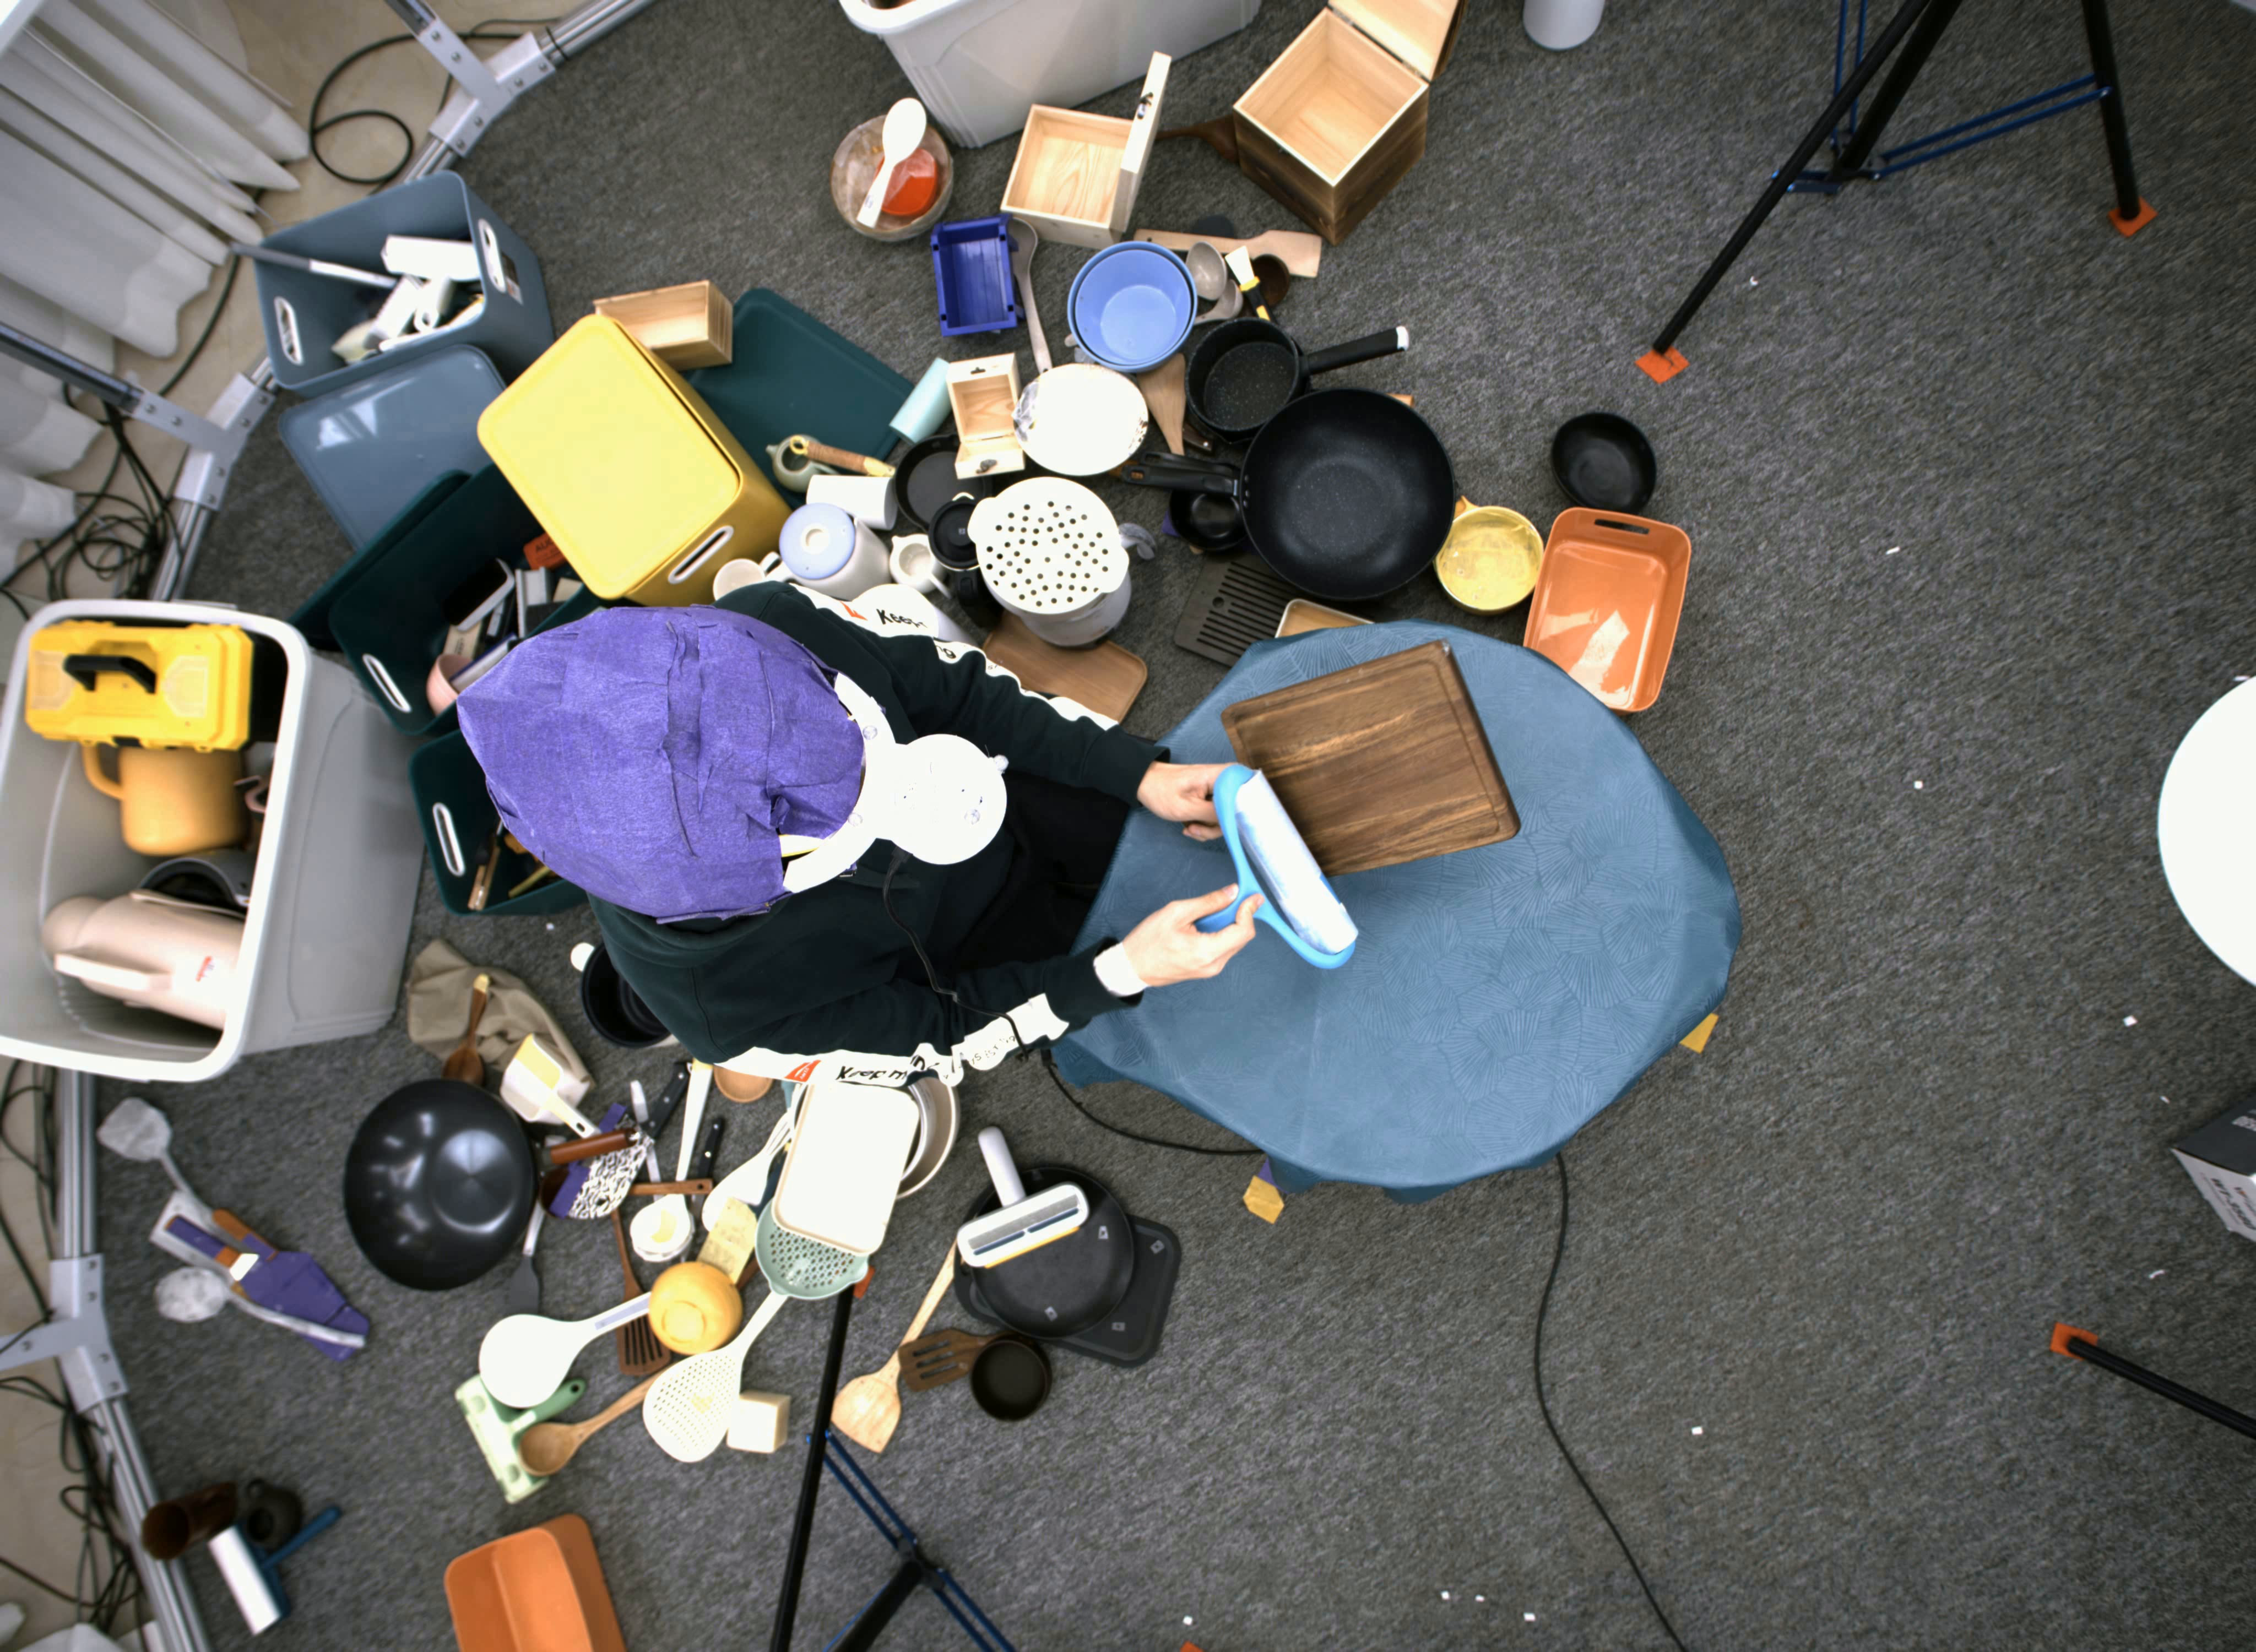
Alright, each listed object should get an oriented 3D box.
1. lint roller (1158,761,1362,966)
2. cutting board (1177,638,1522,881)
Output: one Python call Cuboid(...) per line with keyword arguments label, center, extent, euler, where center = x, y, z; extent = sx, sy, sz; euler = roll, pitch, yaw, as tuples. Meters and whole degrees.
Cuboid(label="lint roller", center=(0.113, 0.070, 1.349), extent=(0.179, 0.068, 0.230), euler=(-37, 104, -11))
Cuboid(label="cutting board", center=(0.186, -0.044, 1.335), extent=(0.357, 0.022, 0.203), euler=(-15, 109, 41))
